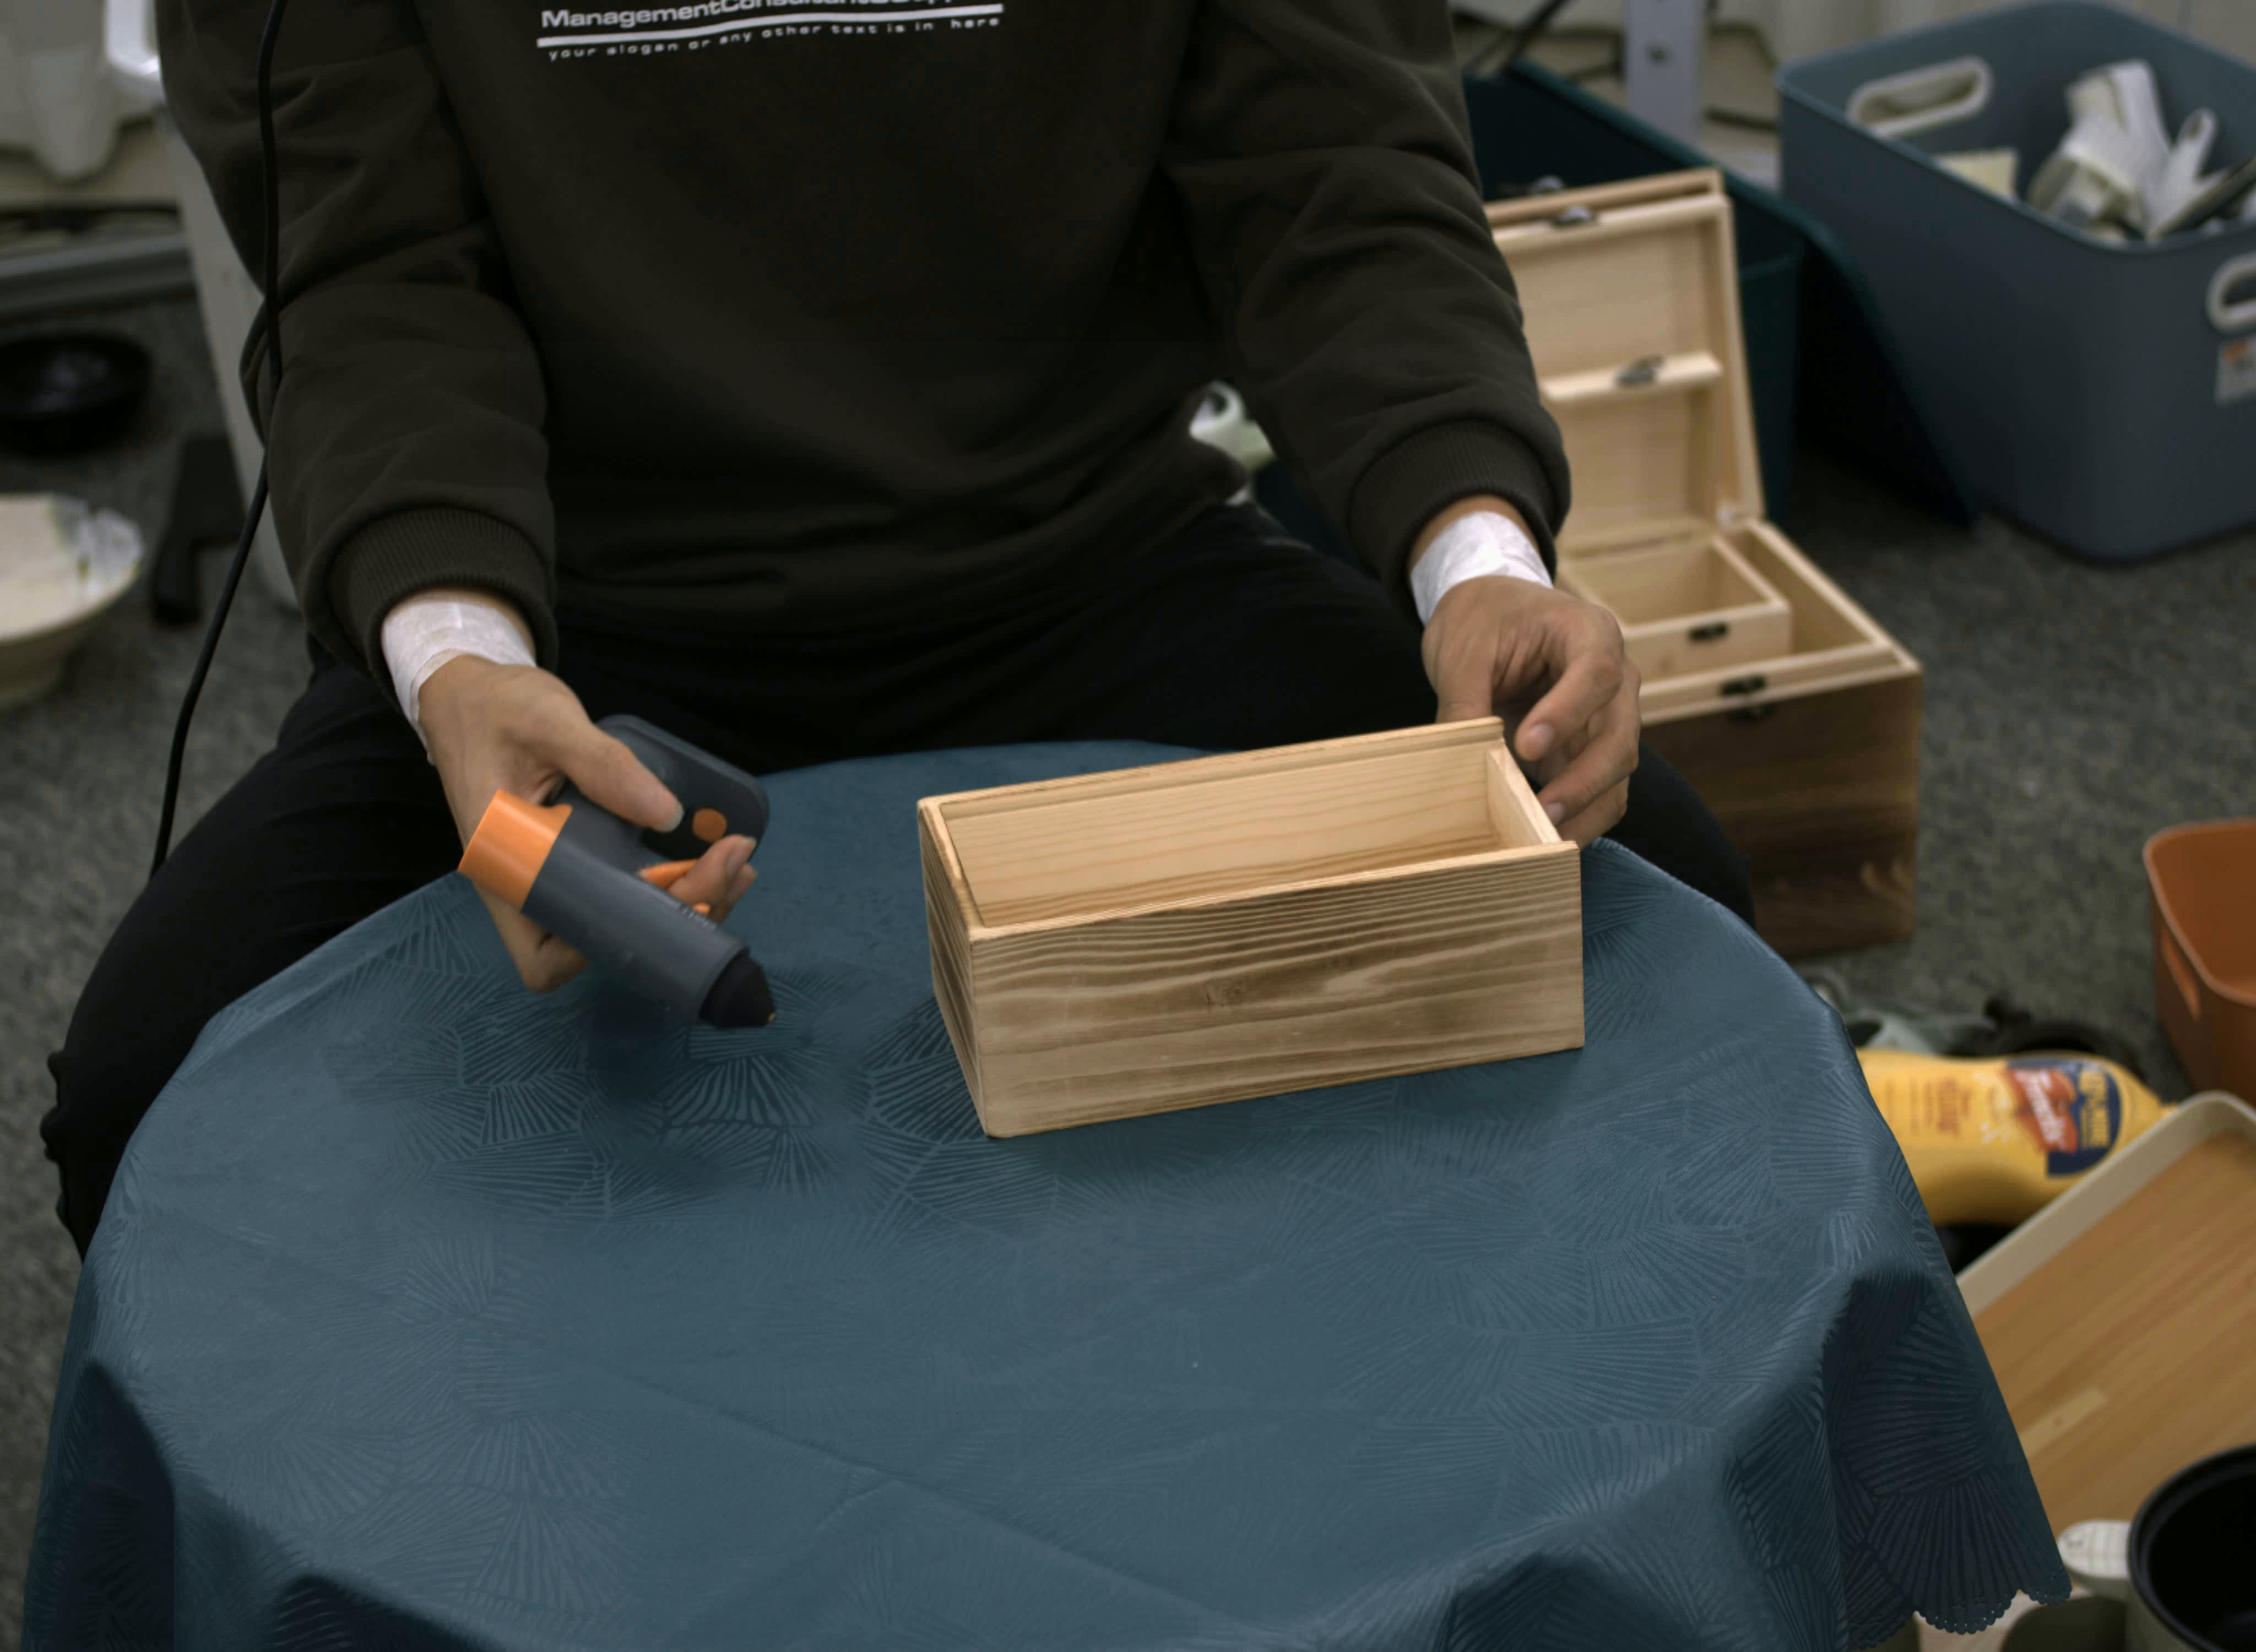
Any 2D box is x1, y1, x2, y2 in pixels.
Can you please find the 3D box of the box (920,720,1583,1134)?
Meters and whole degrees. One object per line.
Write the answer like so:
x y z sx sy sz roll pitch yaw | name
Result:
0.042 0.034 1.946 0.211 0.079 0.109 -8 27 -10 | box

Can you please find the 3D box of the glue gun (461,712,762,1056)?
-0.167 0.020 1.938 0.117 0.040 0.142 34 22 -8 | glue gun
